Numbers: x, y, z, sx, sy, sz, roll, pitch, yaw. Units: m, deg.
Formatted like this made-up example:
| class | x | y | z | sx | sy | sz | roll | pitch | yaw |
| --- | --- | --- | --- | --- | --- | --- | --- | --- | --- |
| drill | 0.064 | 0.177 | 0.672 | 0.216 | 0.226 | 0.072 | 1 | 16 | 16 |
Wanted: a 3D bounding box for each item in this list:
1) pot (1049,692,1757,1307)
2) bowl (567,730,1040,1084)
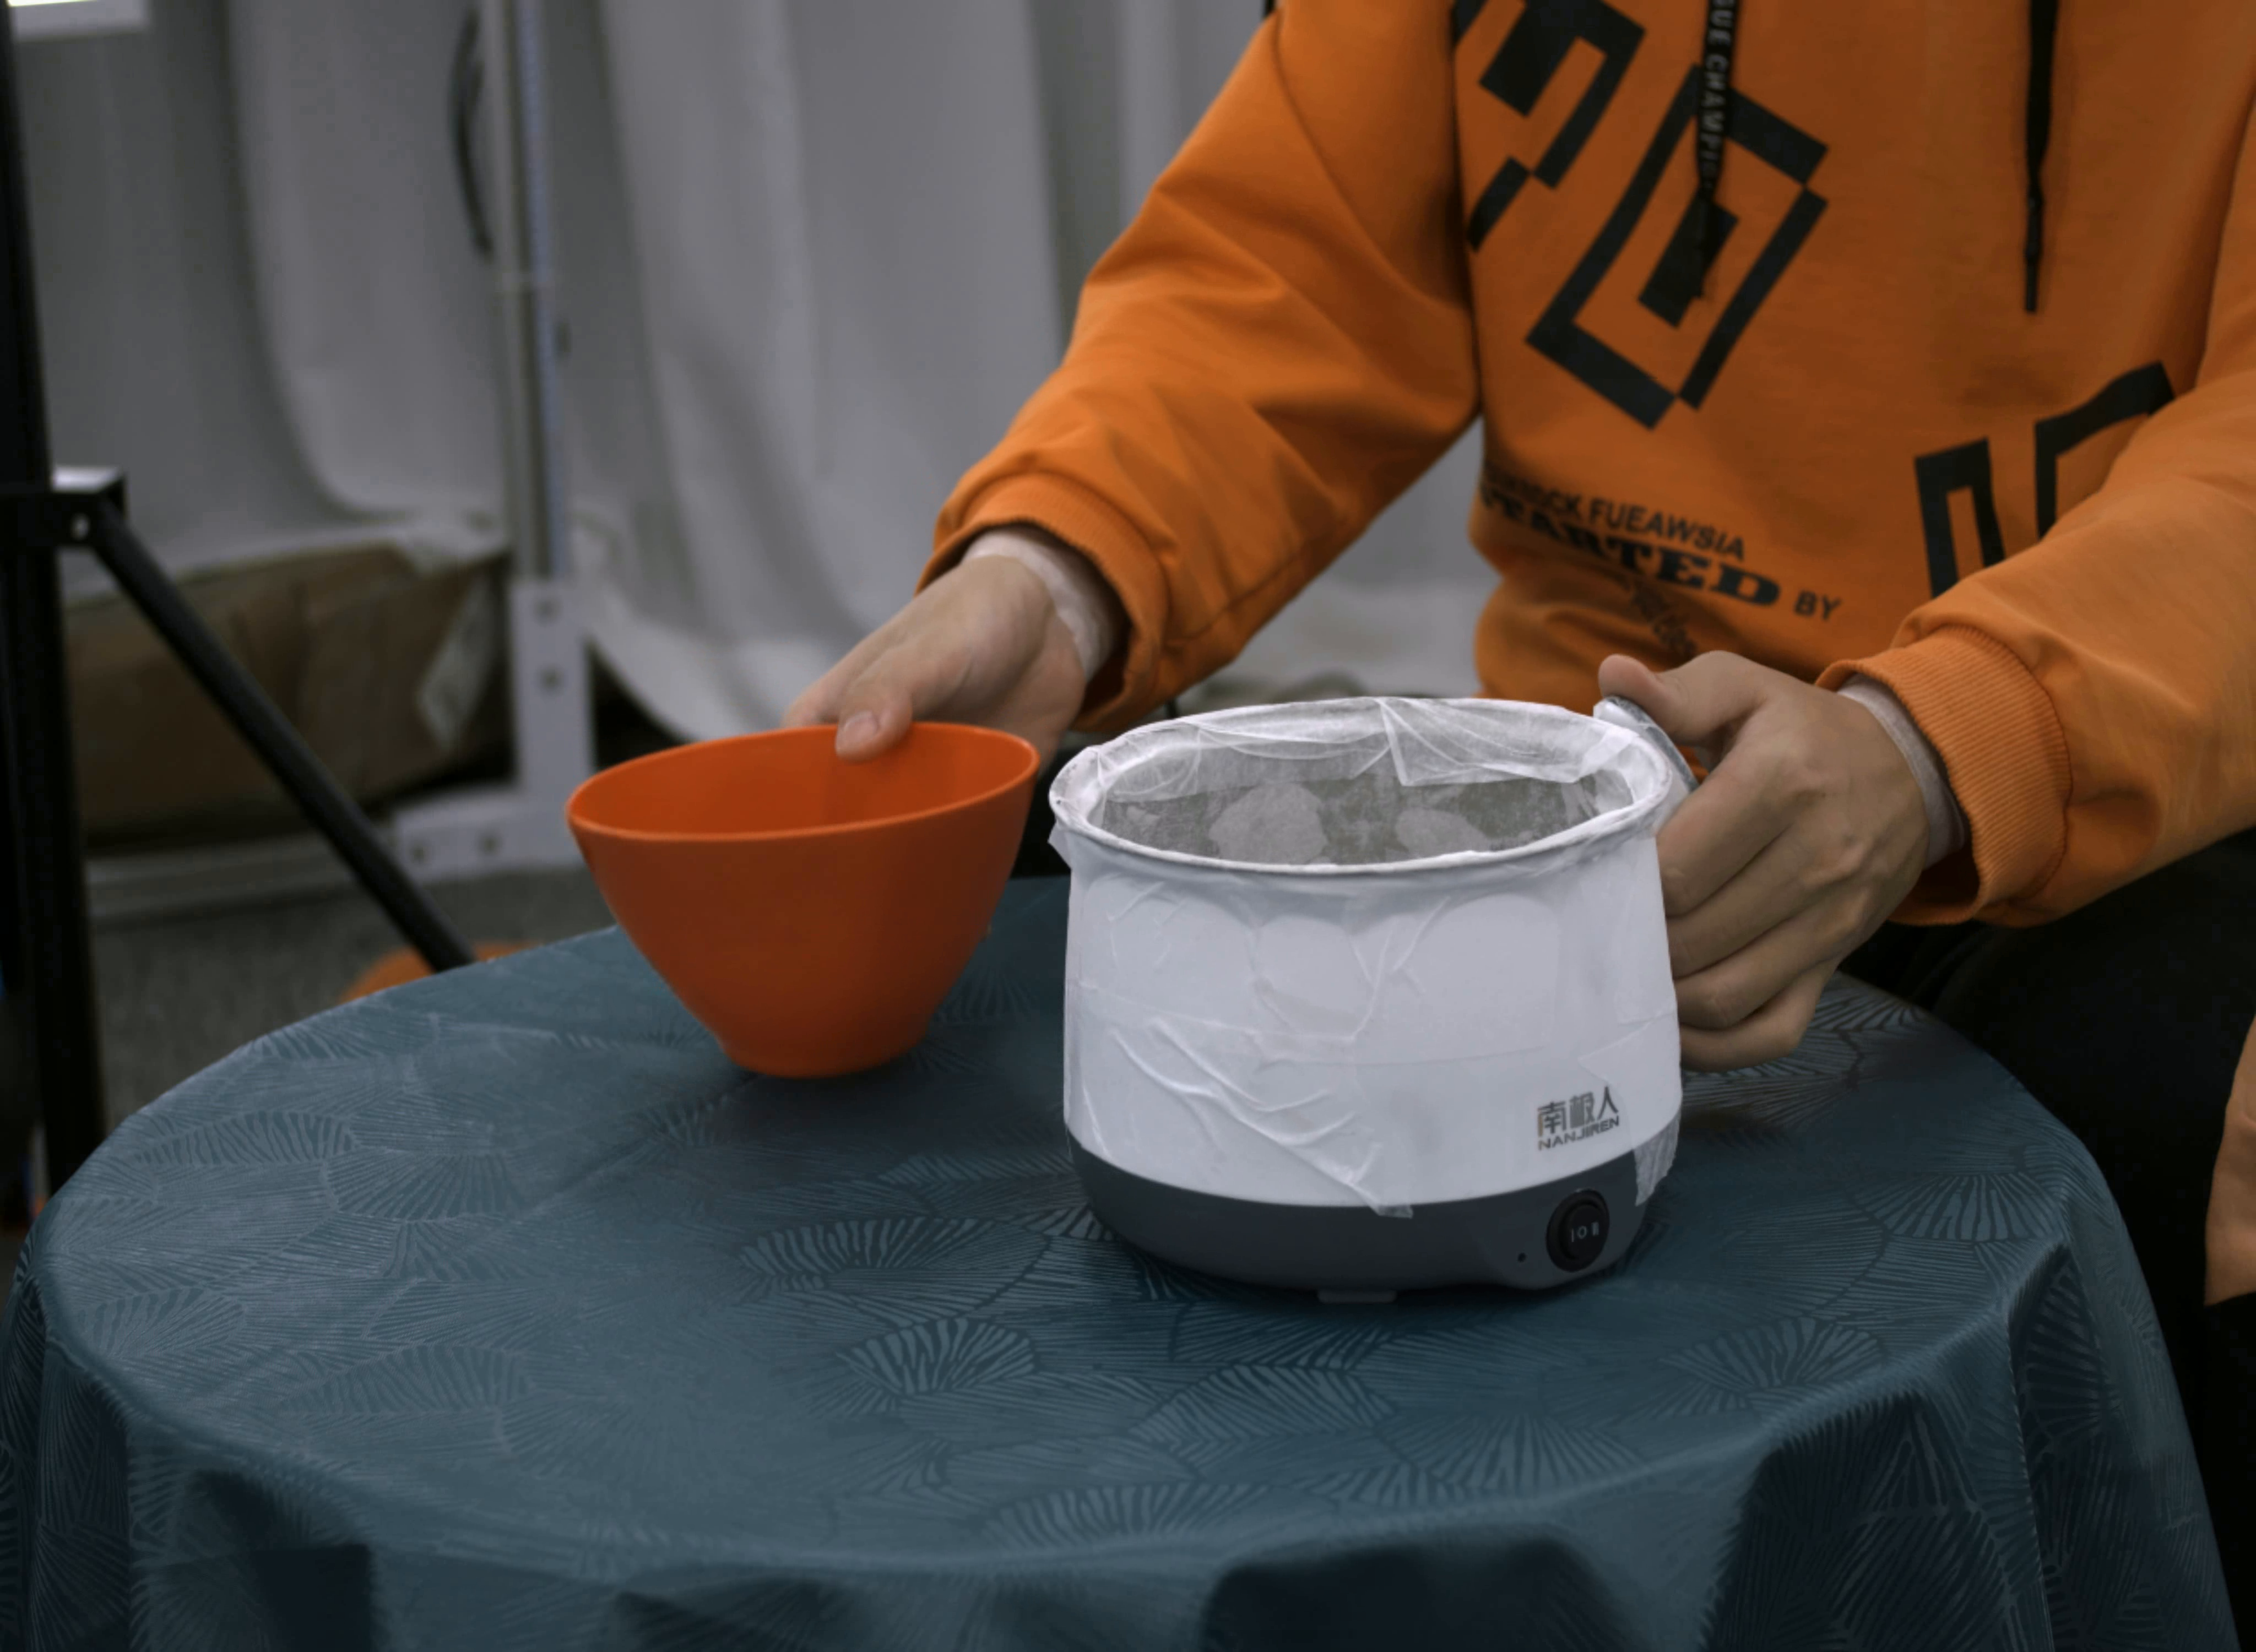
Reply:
| class | x | y | z | sx | sy | sz | roll | pitch | yaw |
| --- | --- | --- | --- | --- | --- | --- | --- | --- | --- |
| pot | 0.089 | 0.042 | 1.525 | 0.228 | 0.136 | 0.183 | -15 | 20 | -37 |
| bowl | -0.098 | 0.025 | 1.659 | 0.147 | 0.104 | 0.149 | -4 | 20 | 0 |
